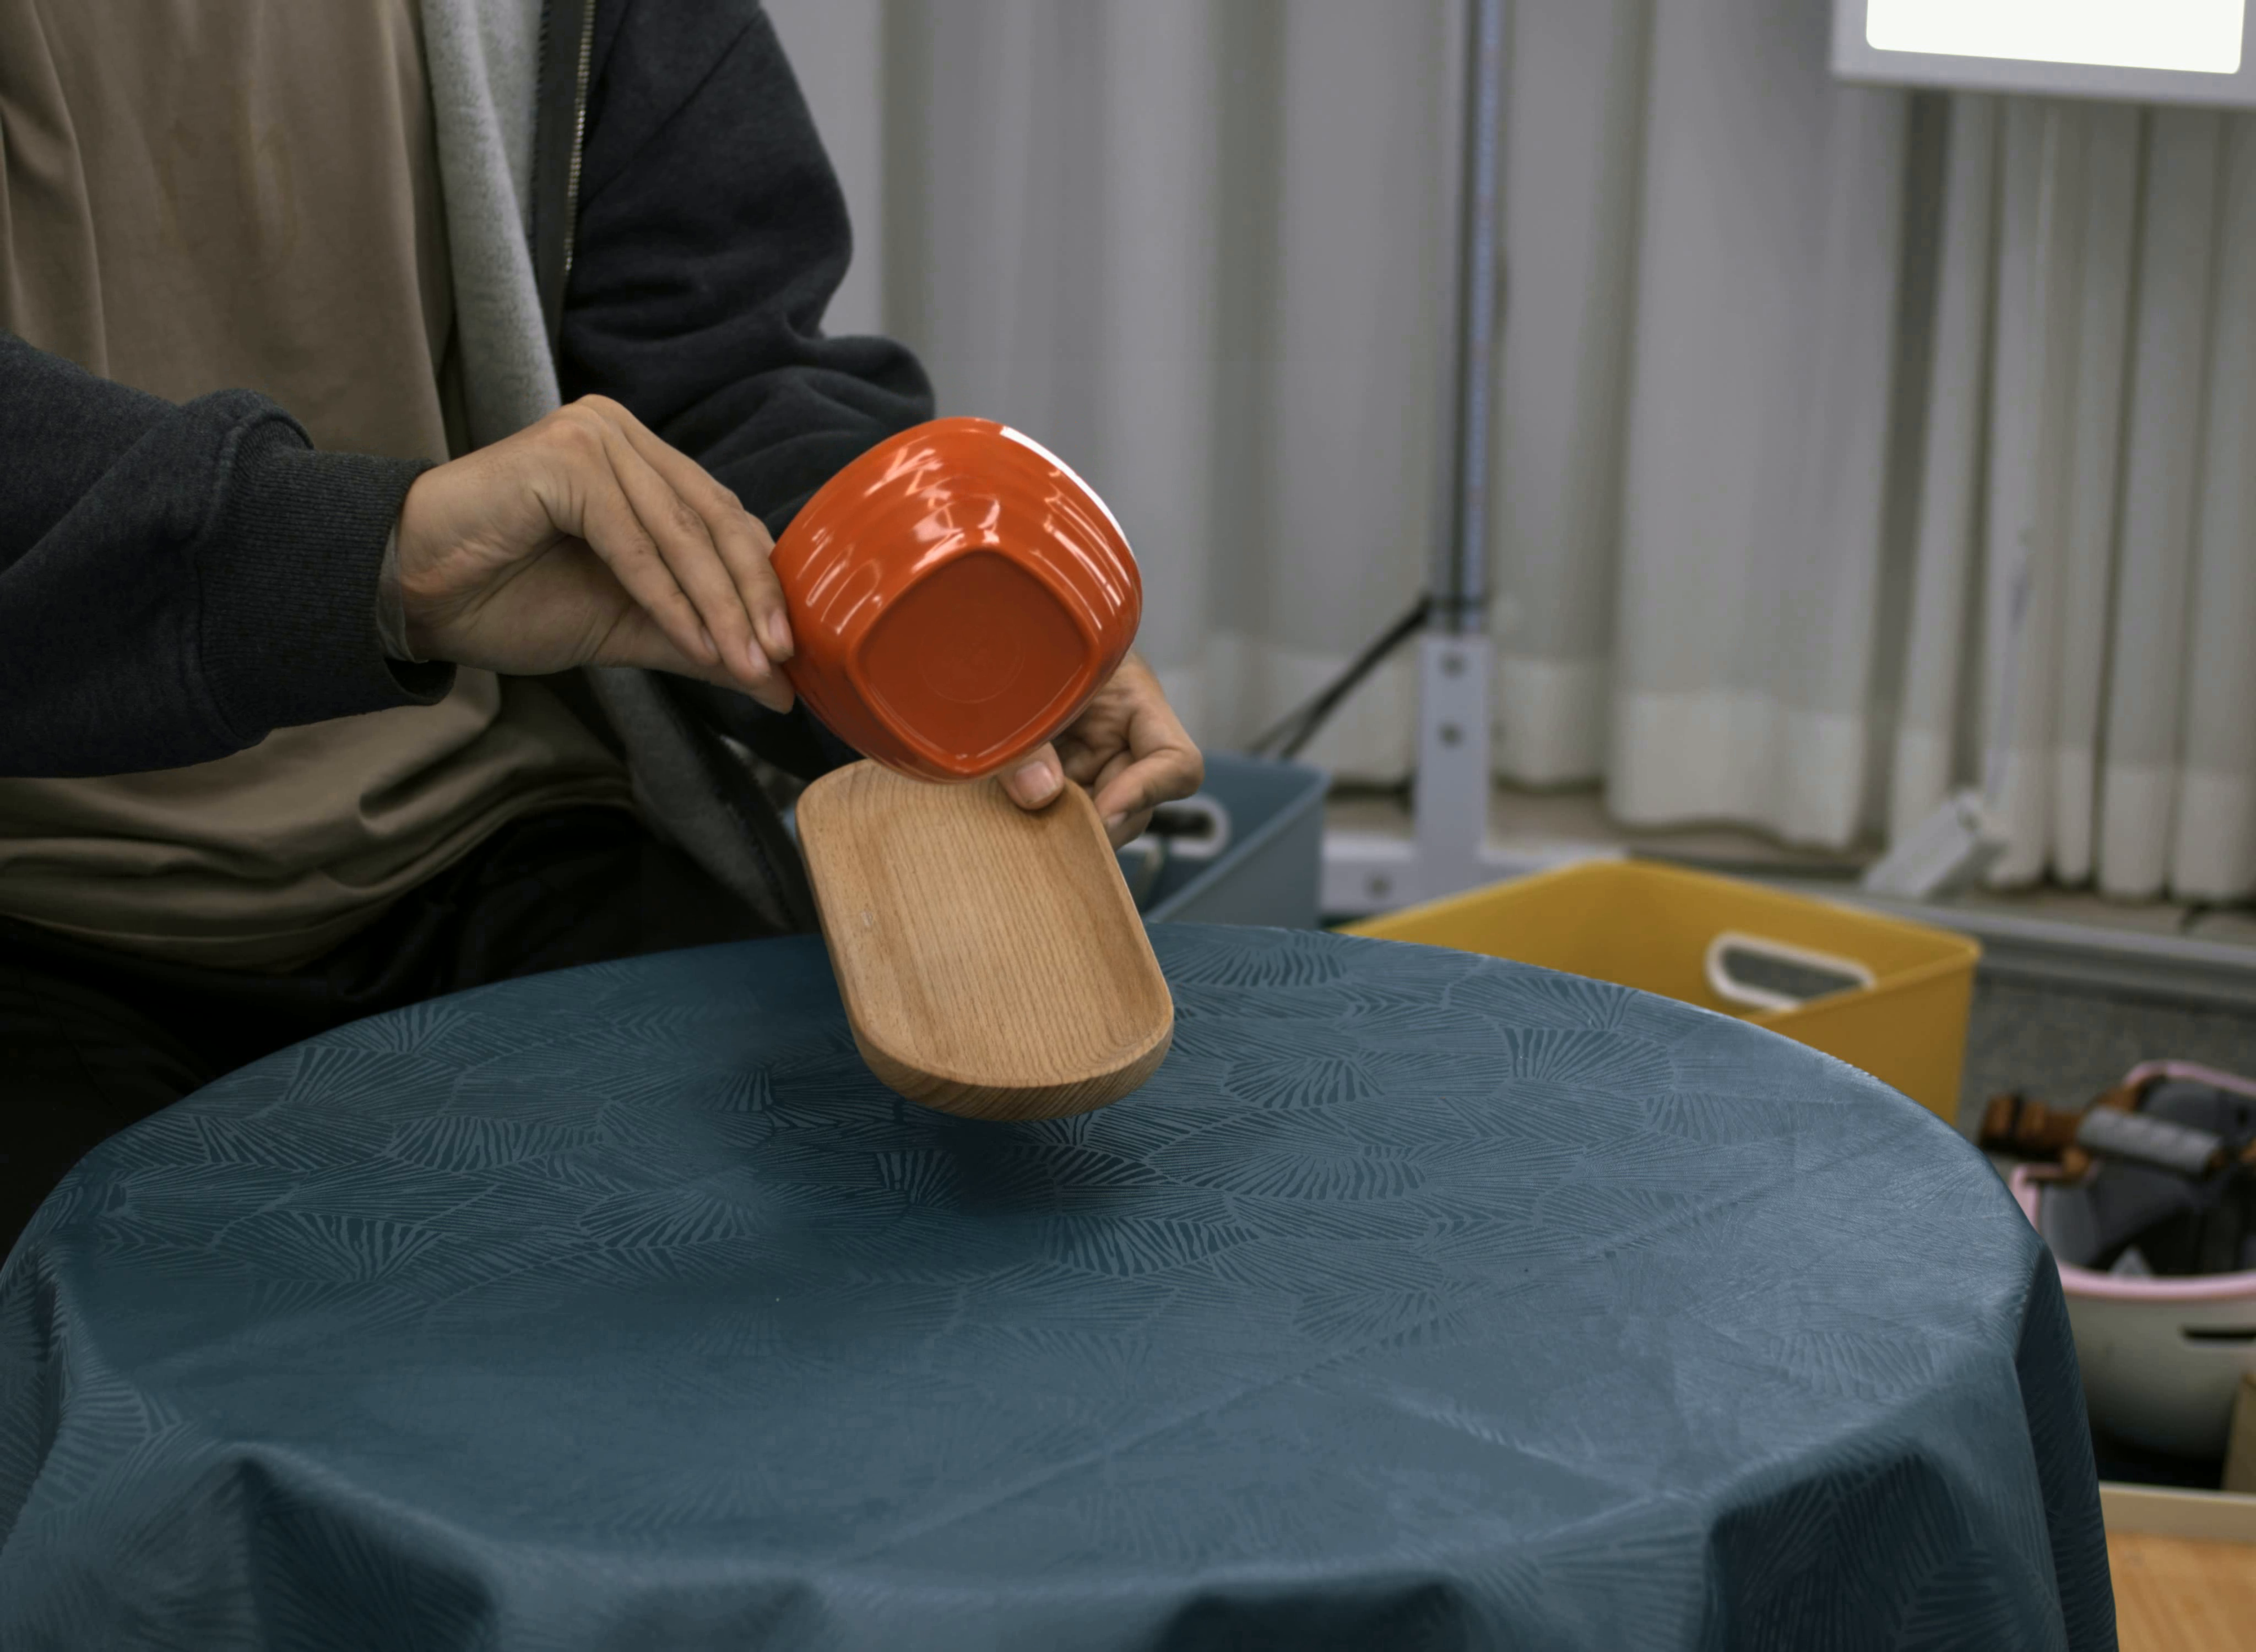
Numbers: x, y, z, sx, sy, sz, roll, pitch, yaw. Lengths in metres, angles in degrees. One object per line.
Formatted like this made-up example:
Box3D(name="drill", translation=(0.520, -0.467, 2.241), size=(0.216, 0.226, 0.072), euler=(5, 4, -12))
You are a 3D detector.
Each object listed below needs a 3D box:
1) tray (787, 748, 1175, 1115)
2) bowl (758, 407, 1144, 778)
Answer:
Box3D(name="tray", translation=(-0.049, 0.030, 1.684), size=(0.102, 0.020, 0.228), euler=(-2, 26, -12))
Box3D(name="bowl", translation=(-0.049, -0.061, 1.578), size=(0.119, 0.120, 0.051), euler=(-3, 28, -12))
